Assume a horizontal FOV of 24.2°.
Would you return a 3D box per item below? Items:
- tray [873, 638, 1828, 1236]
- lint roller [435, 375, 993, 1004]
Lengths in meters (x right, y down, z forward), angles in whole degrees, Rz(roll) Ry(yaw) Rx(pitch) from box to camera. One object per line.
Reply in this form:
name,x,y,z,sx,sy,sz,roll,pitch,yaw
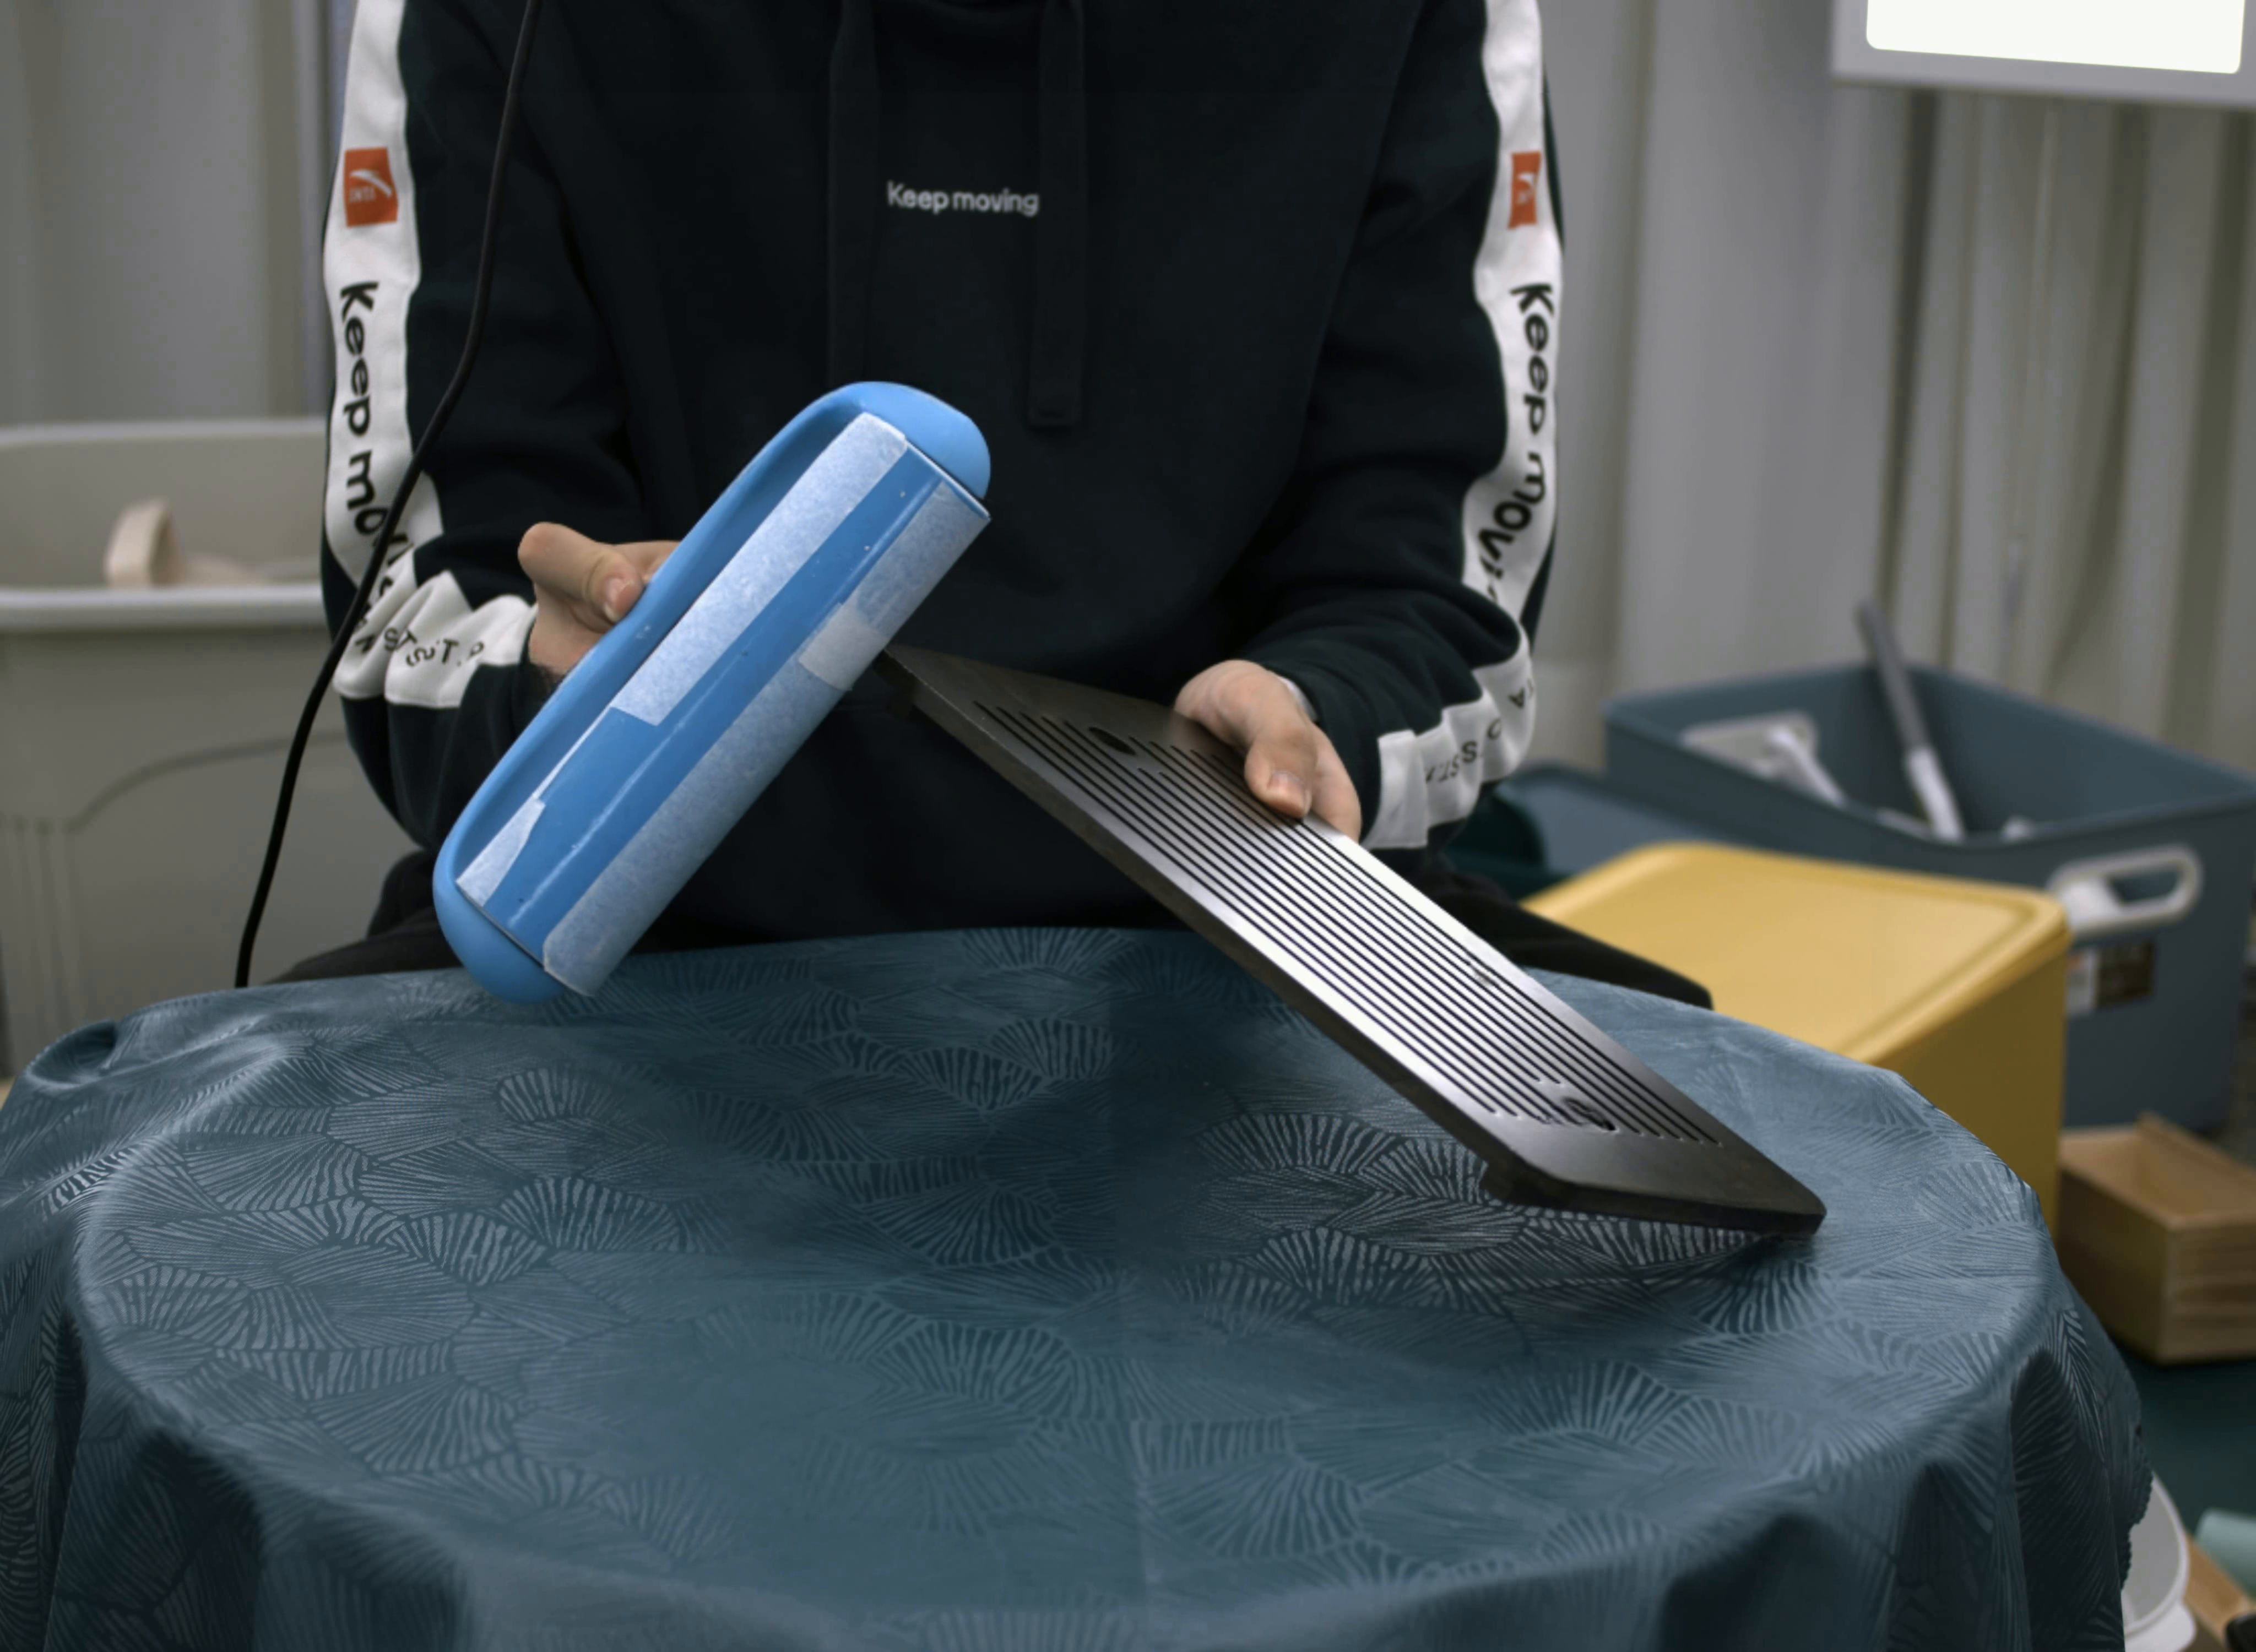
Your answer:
tray,0.064,0.036,1.600,0.302,0.018,0.172,38,15,32
lint roller,-0.136,-0.046,1.657,0.068,0.229,0.179,39,-4,-14
